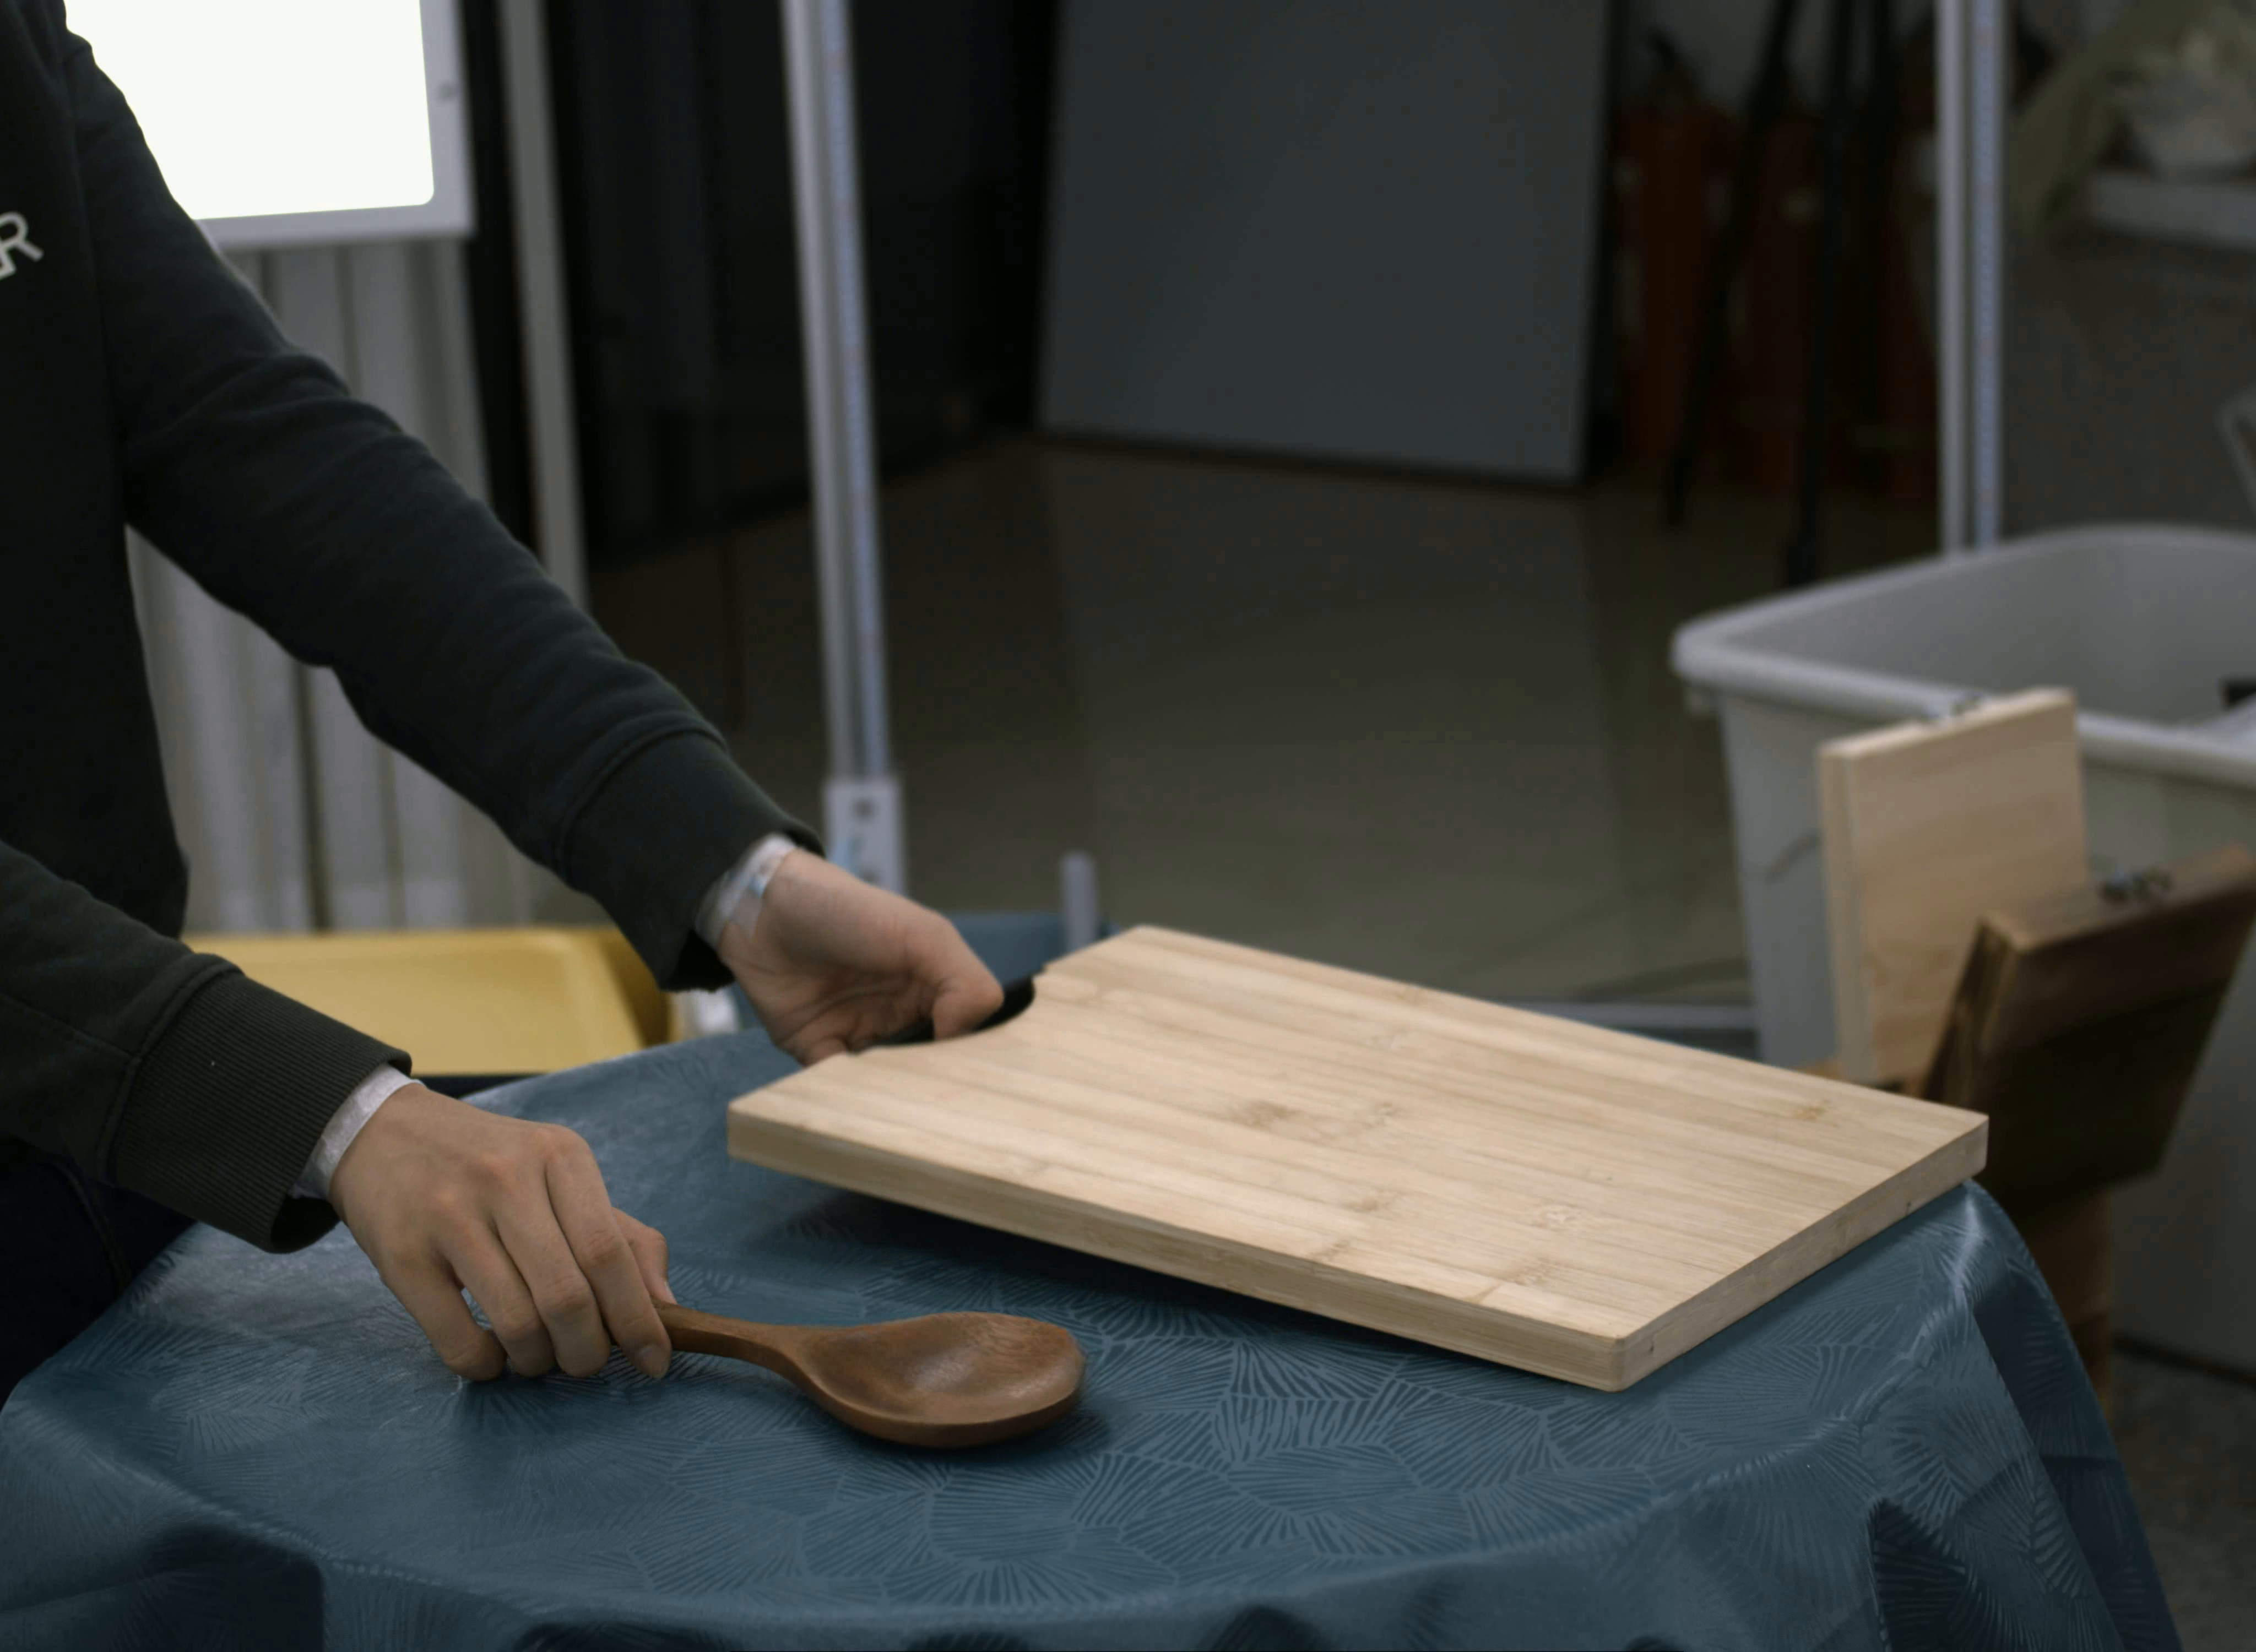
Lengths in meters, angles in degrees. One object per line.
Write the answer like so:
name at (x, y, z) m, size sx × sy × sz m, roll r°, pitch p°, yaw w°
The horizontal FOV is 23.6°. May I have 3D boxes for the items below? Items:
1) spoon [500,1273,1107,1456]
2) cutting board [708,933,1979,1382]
spoon at (-0.100, 0.157, 1.607) m, size 0.217 × 0.017 × 0.074 m, roll 8°, pitch 26°, yaw 34°
cutting board at (0.069, 0.101, 1.747) m, size 0.351 × 0.024 × 0.246 m, roll 11°, pitch 19°, yaw 34°
